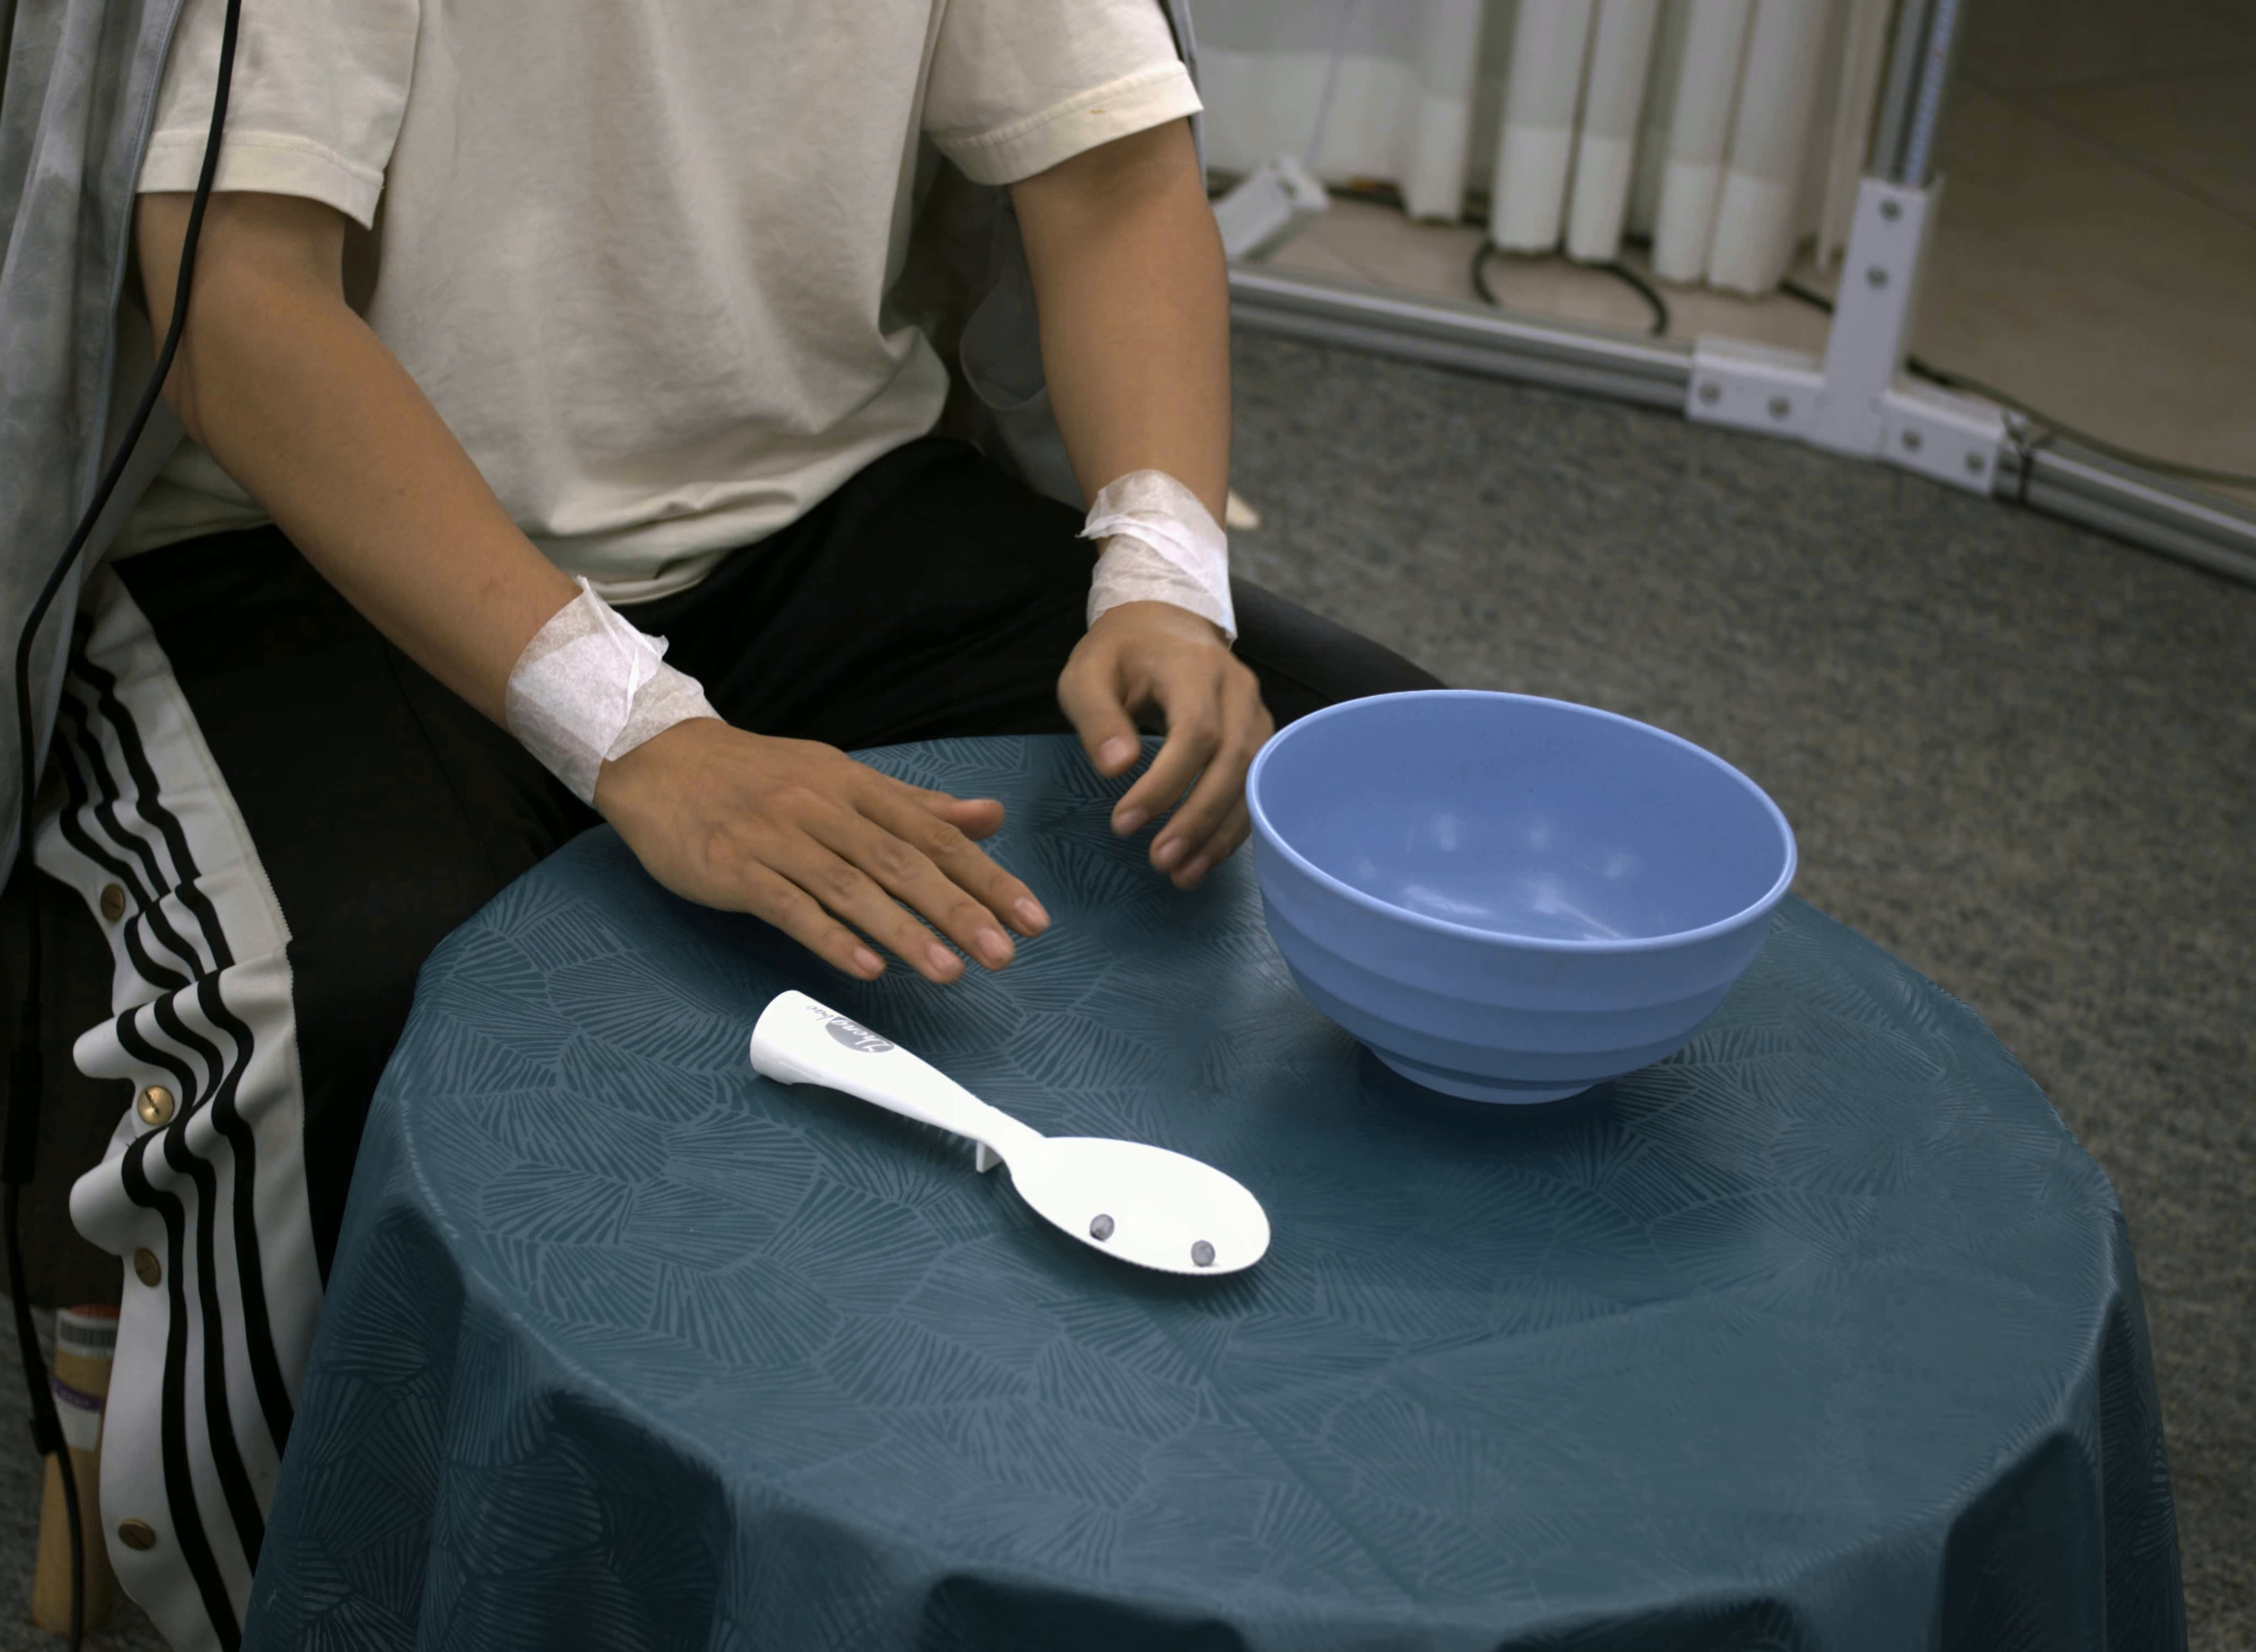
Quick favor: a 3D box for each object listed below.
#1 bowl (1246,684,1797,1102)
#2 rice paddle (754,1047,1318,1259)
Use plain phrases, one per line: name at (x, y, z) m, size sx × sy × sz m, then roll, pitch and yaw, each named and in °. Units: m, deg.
bowl at (0.134, 0.035, 1.903) m, size 0.196 × 0.095 × 0.198 m, roll 5°, pitch 28°, yaw -3°
rice paddle at (-0.030, 0.113, 1.796) m, size 0.206 × 0.029 × 0.068 m, roll 14°, pitch 15°, yaw 23°
